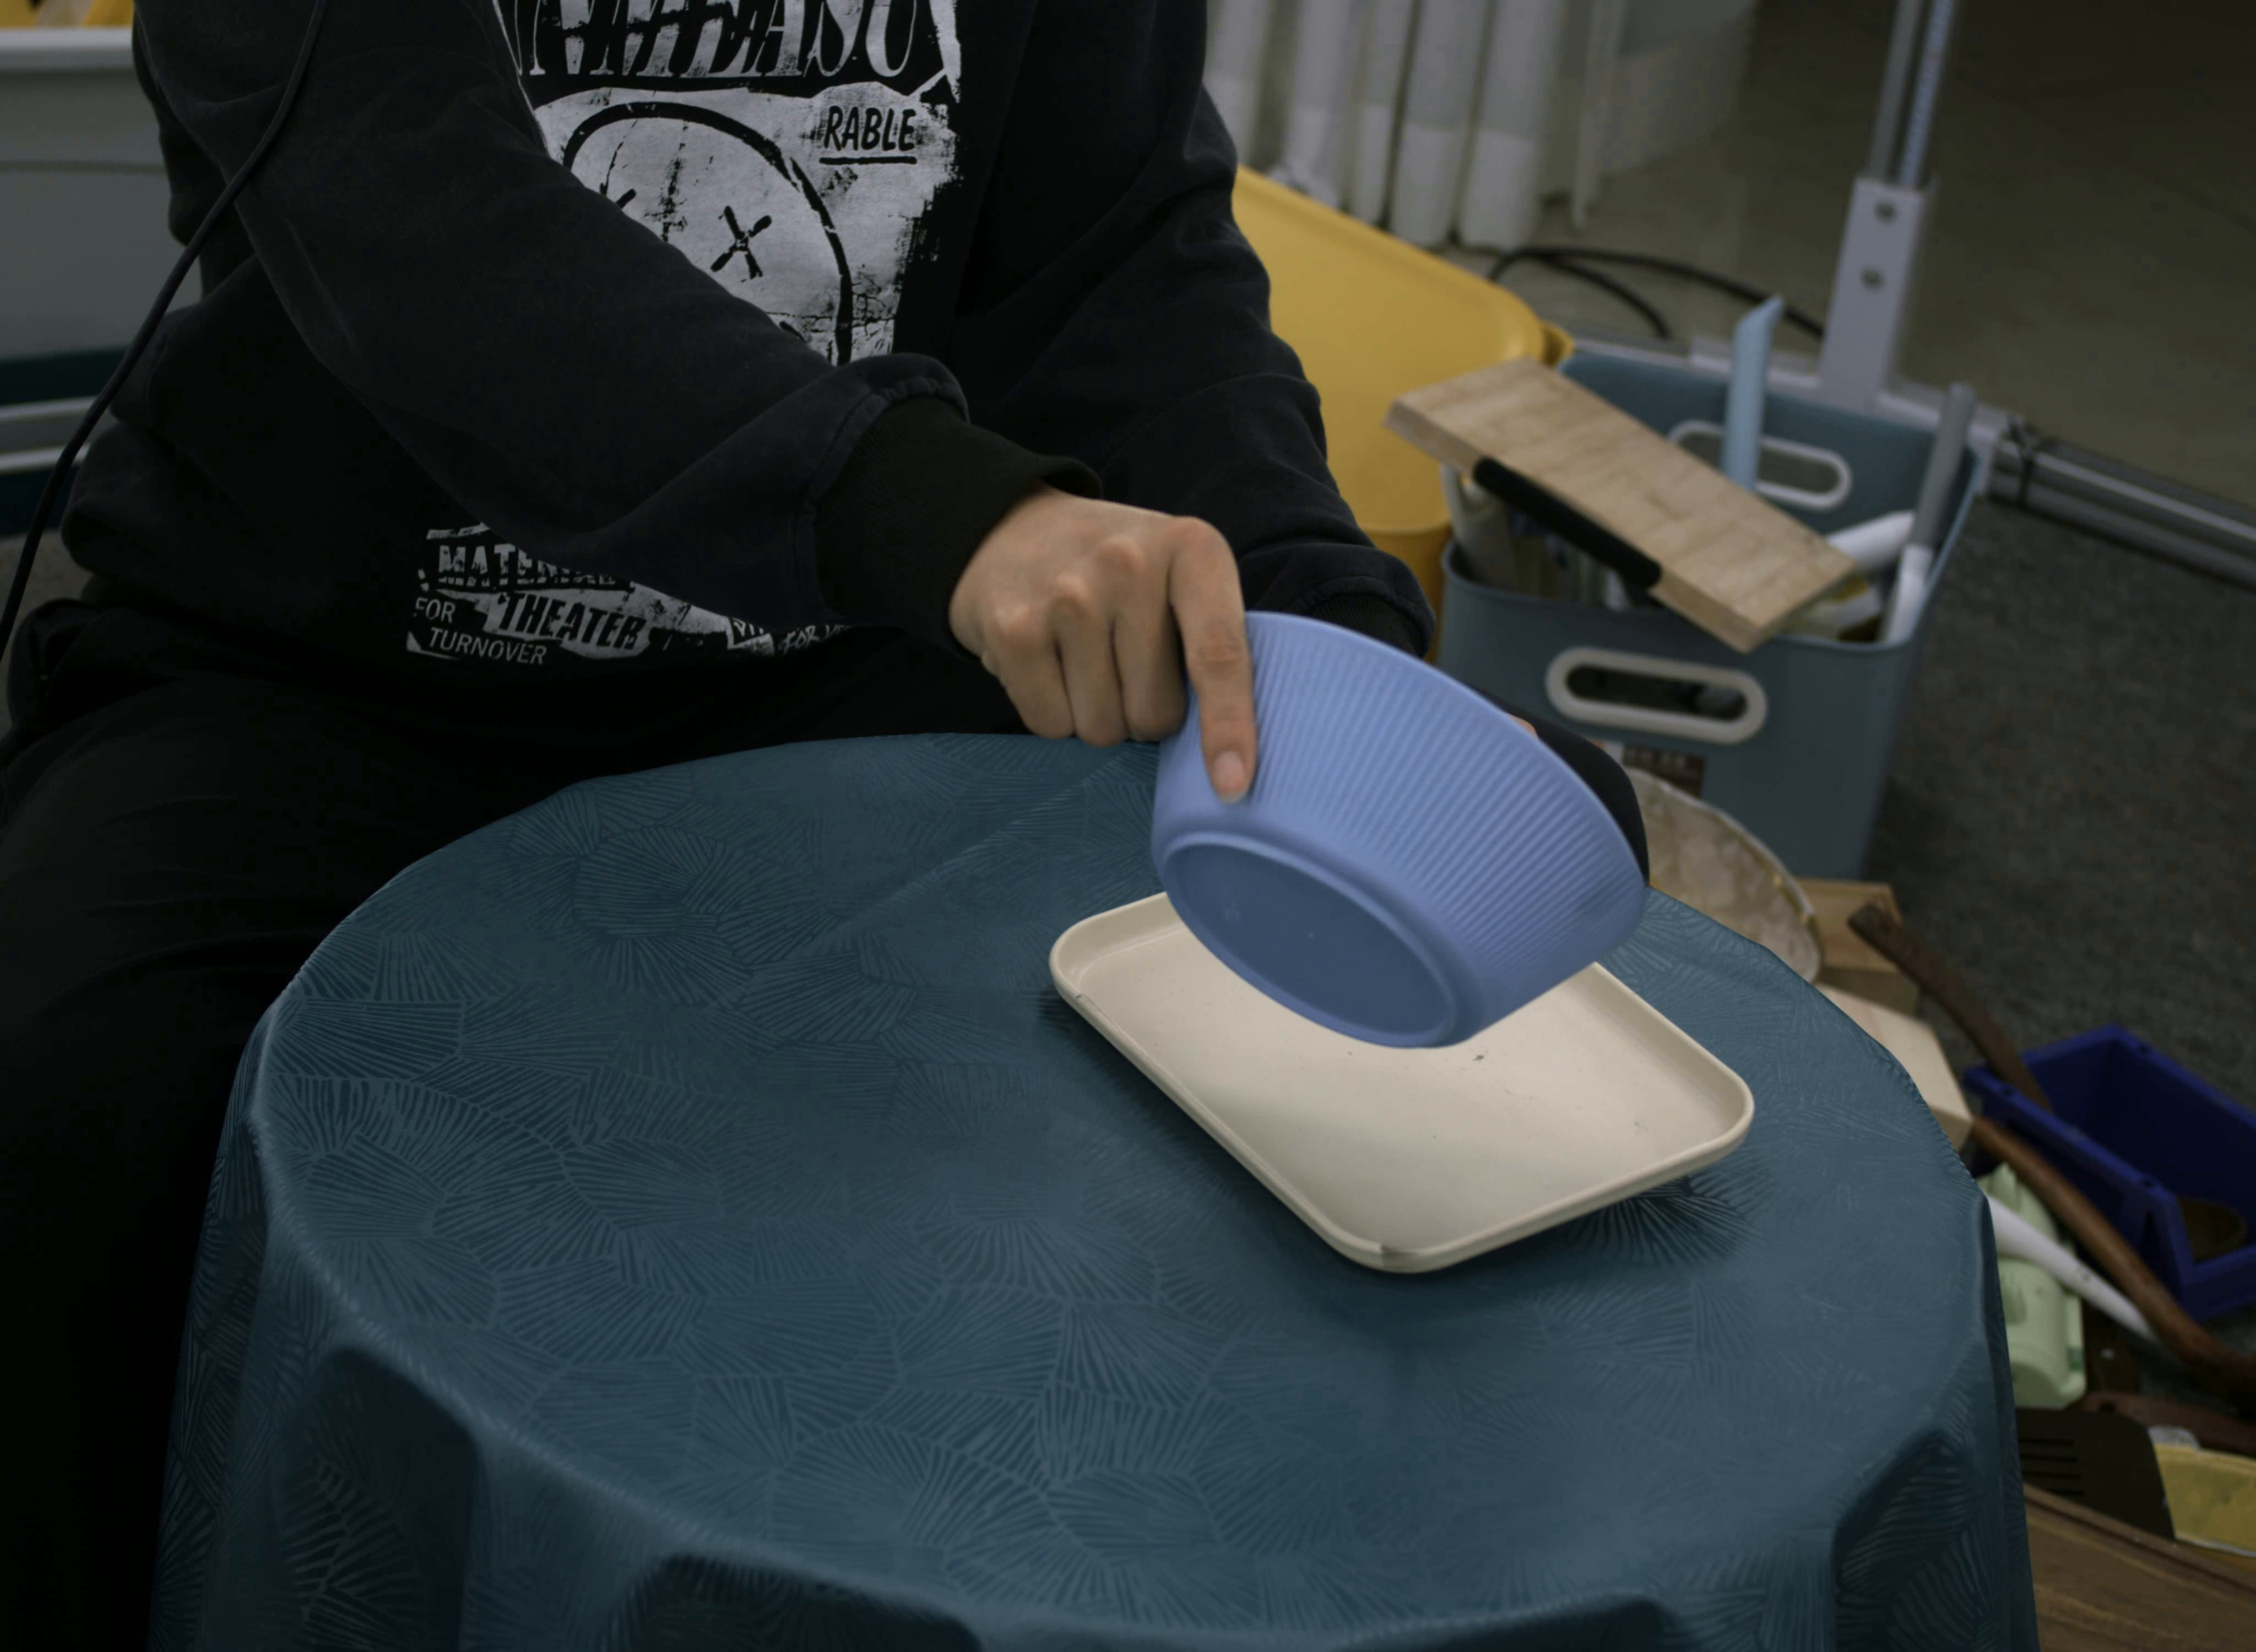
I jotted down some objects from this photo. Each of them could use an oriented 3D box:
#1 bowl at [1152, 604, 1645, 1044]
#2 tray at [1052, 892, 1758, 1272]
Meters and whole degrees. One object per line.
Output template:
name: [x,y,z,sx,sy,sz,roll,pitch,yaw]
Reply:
bowl: [0.074,0.010,1.713,0.177,0.175,0.070,21,62,25]
tray: [0.094,0.077,1.871,0.170,0.017,0.242,-17,35,-25]
